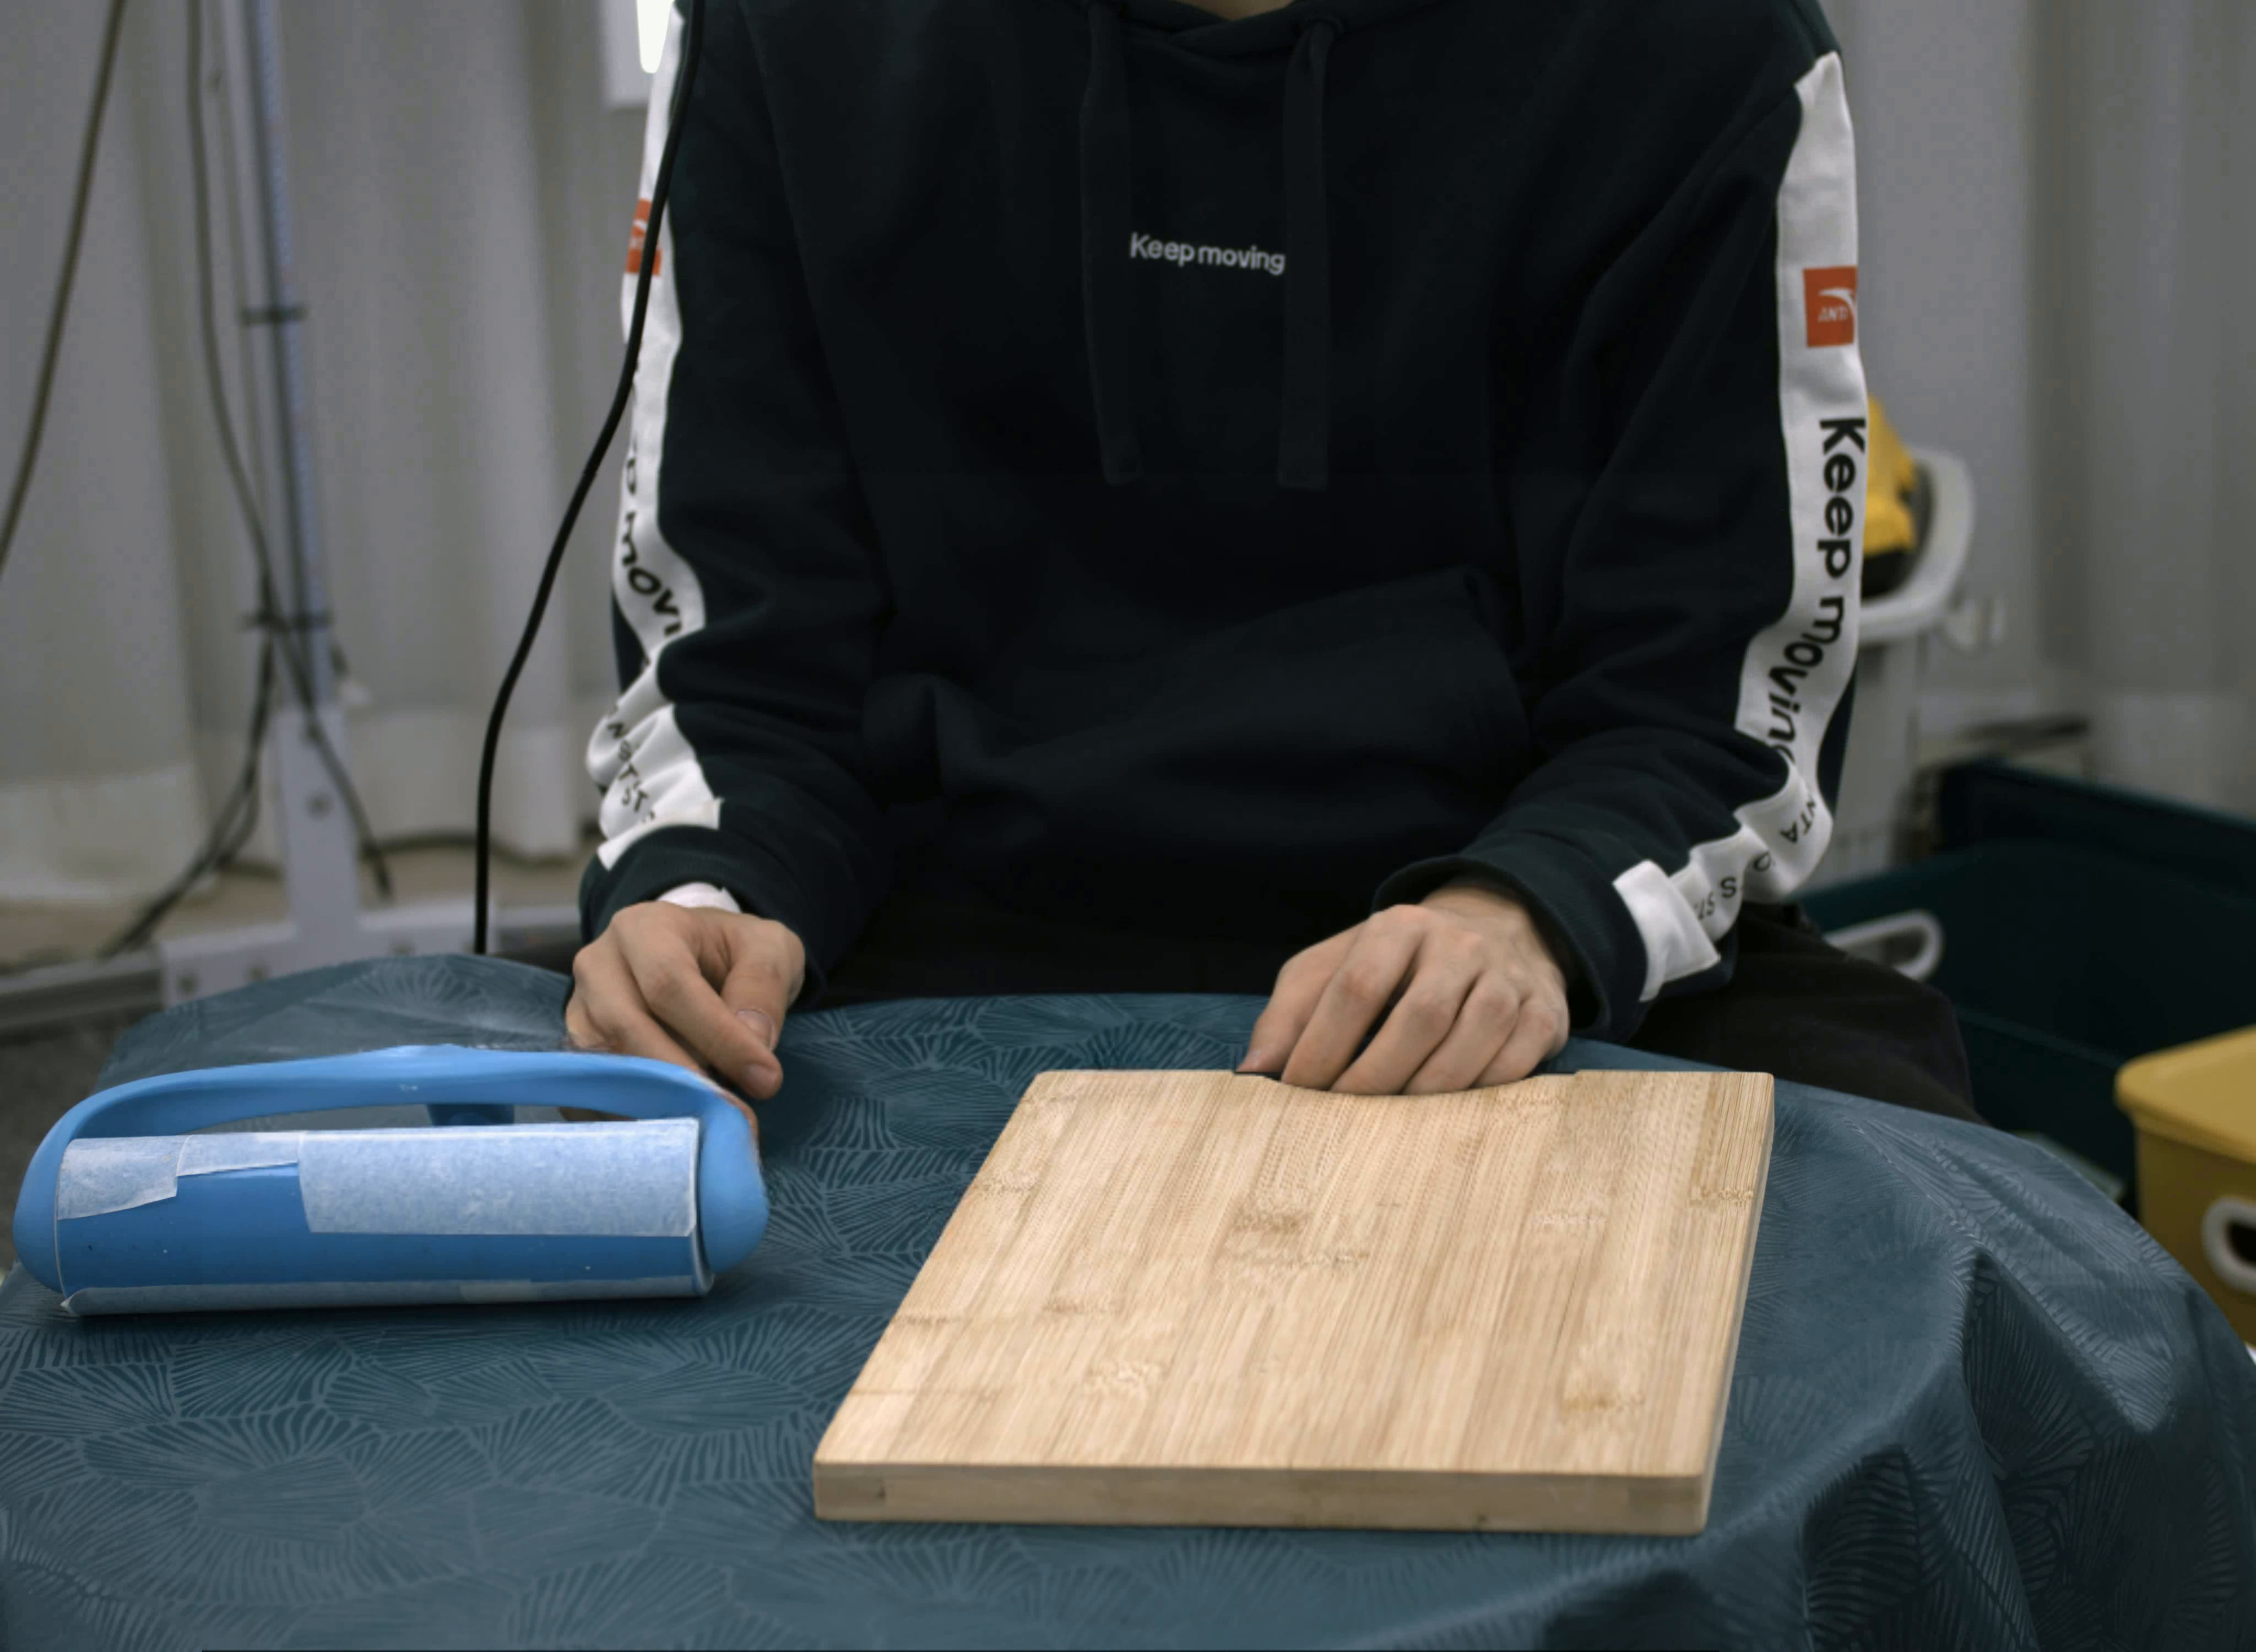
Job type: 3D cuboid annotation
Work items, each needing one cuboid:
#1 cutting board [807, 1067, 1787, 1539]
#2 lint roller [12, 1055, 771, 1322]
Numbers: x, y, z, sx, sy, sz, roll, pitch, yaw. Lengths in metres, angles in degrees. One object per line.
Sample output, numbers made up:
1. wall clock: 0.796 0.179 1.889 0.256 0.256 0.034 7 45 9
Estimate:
1. cutting board: 0.062 0.133 1.604 0.250 0.023 0.350 0 15 9
2. lint roller: -0.221 0.102 1.699 0.228 0.067 0.181 -4 15 1
